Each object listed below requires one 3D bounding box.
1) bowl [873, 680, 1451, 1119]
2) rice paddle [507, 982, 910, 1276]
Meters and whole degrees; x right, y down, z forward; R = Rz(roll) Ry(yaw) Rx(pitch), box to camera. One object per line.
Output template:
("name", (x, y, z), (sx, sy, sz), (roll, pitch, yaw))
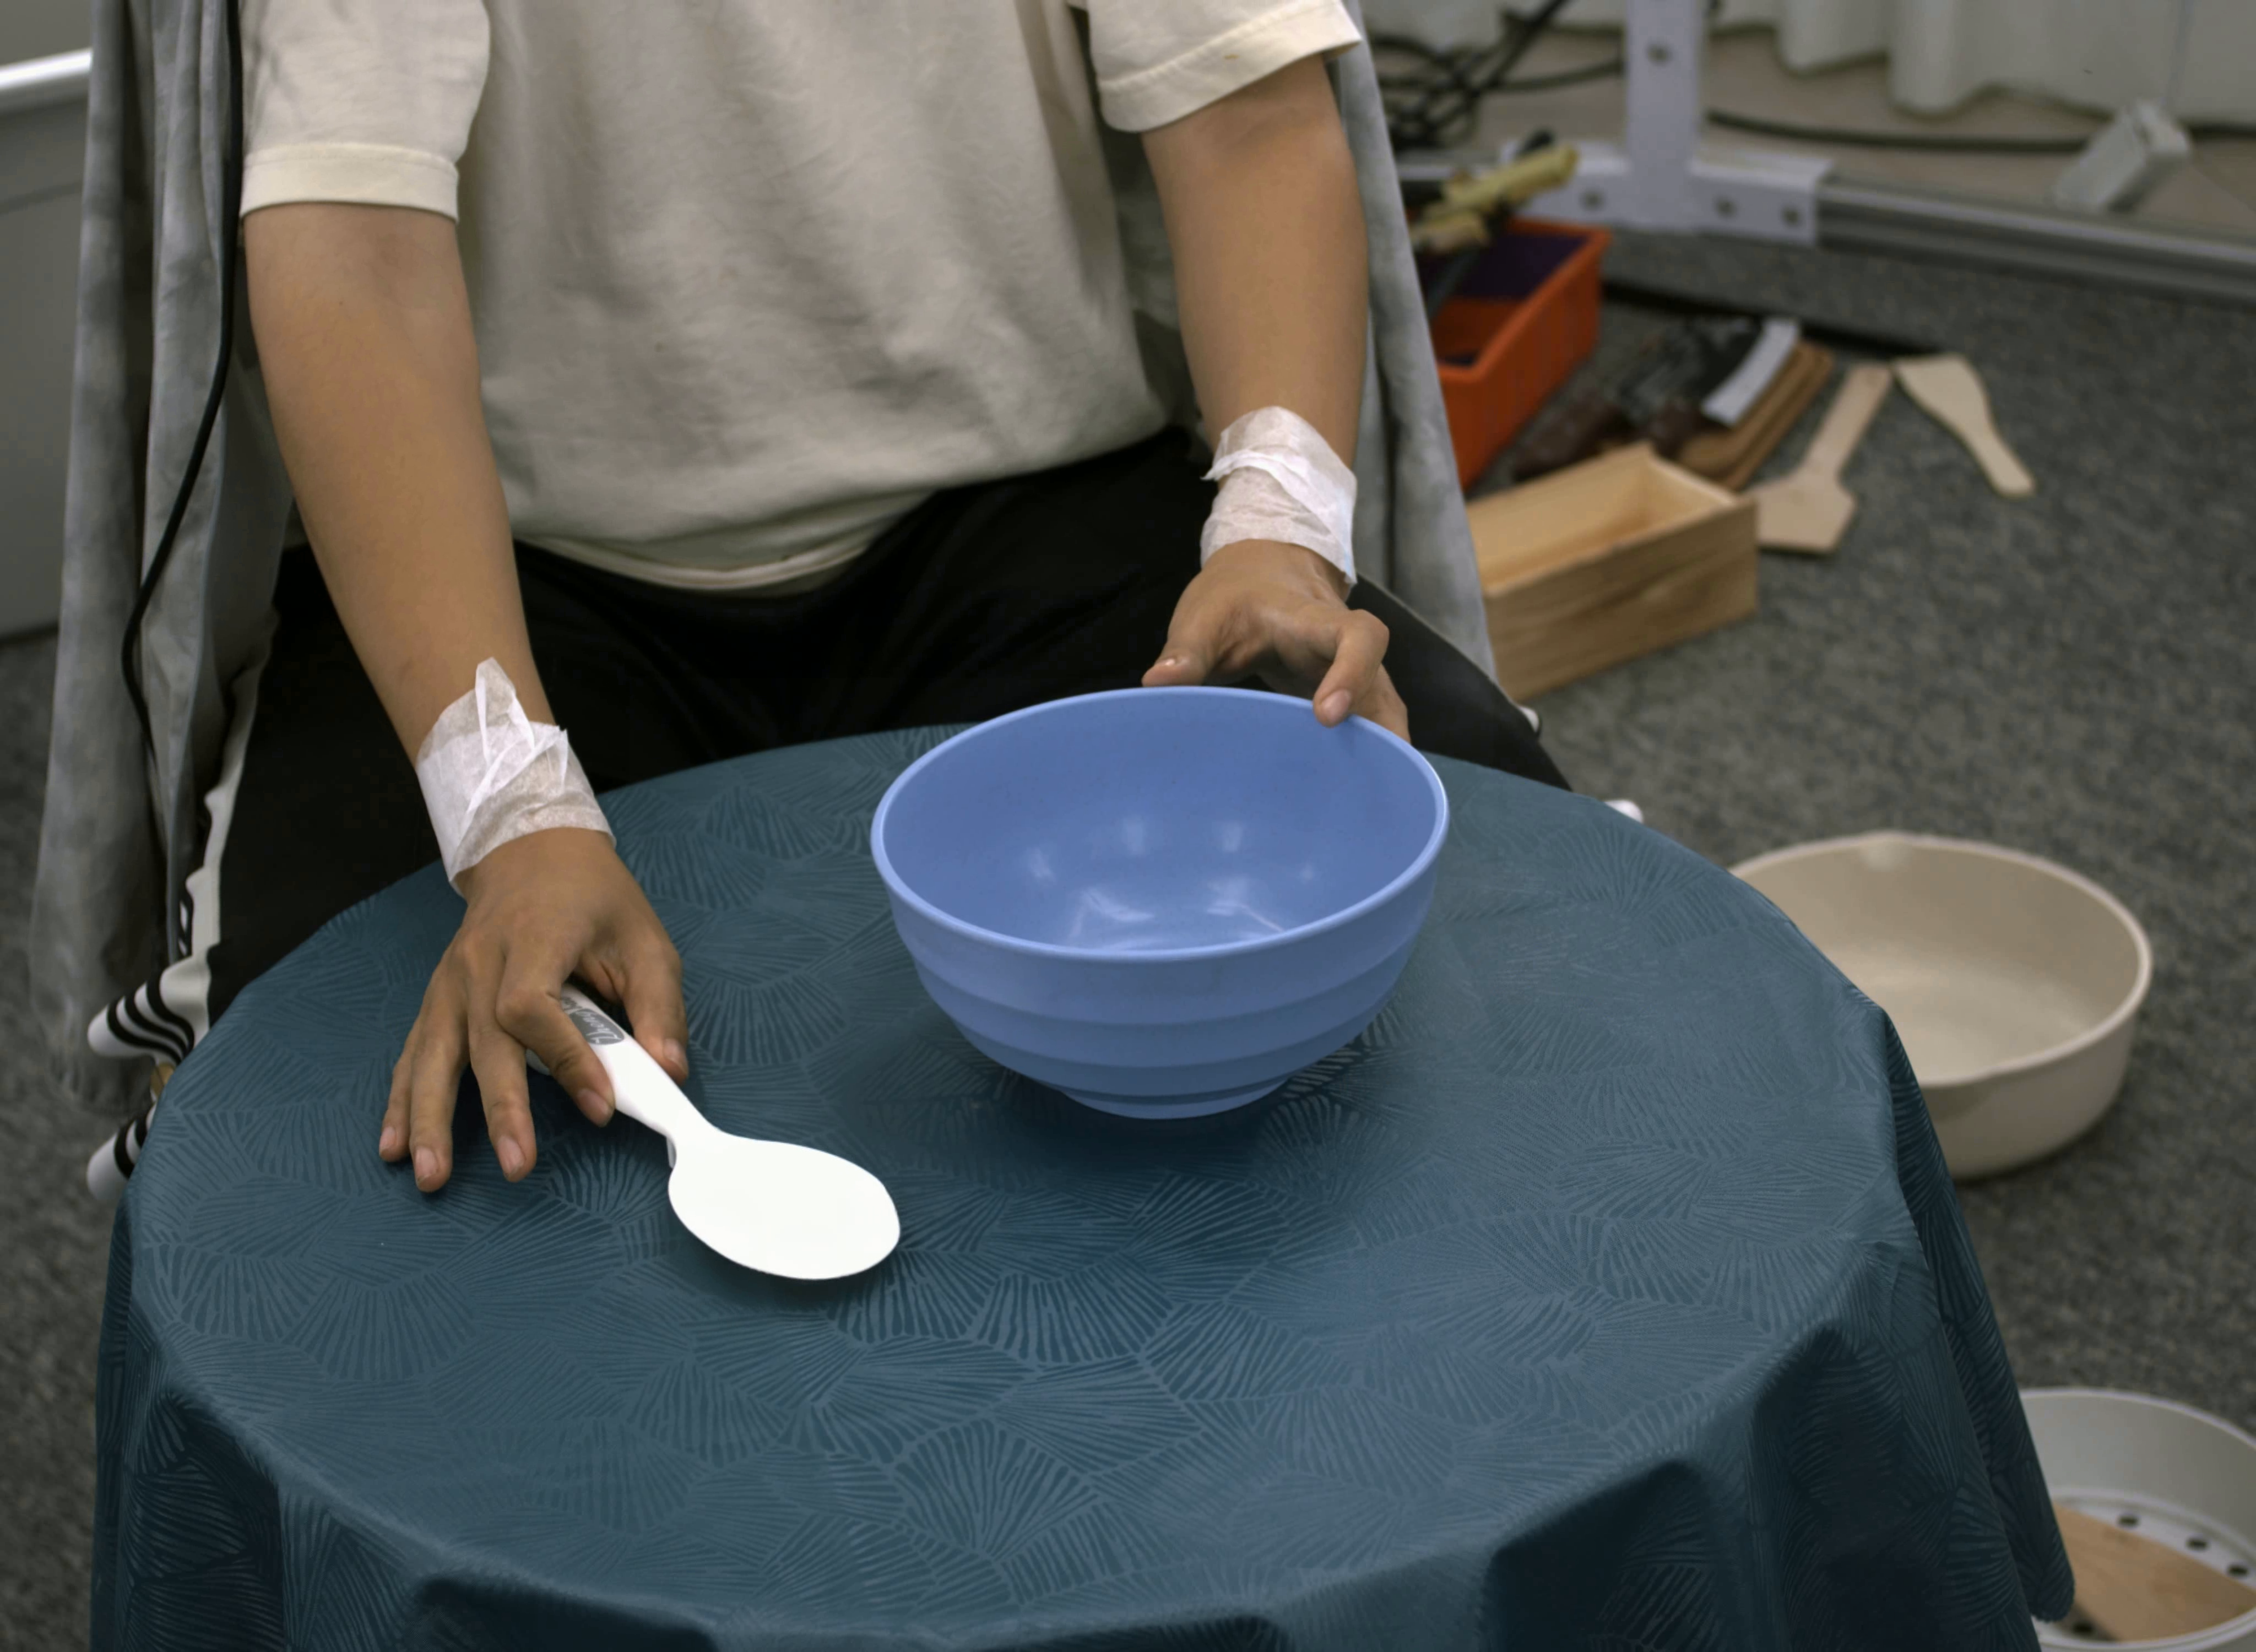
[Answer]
("bowl", (0.014, 0.036, 1.921), (0.195, 0.094, 0.199), (-2, 28, 2))
("rice paddle", (-0.143, 0.103, 1.877), (0.069, 0.029, 0.205), (-17, 30, -31))
